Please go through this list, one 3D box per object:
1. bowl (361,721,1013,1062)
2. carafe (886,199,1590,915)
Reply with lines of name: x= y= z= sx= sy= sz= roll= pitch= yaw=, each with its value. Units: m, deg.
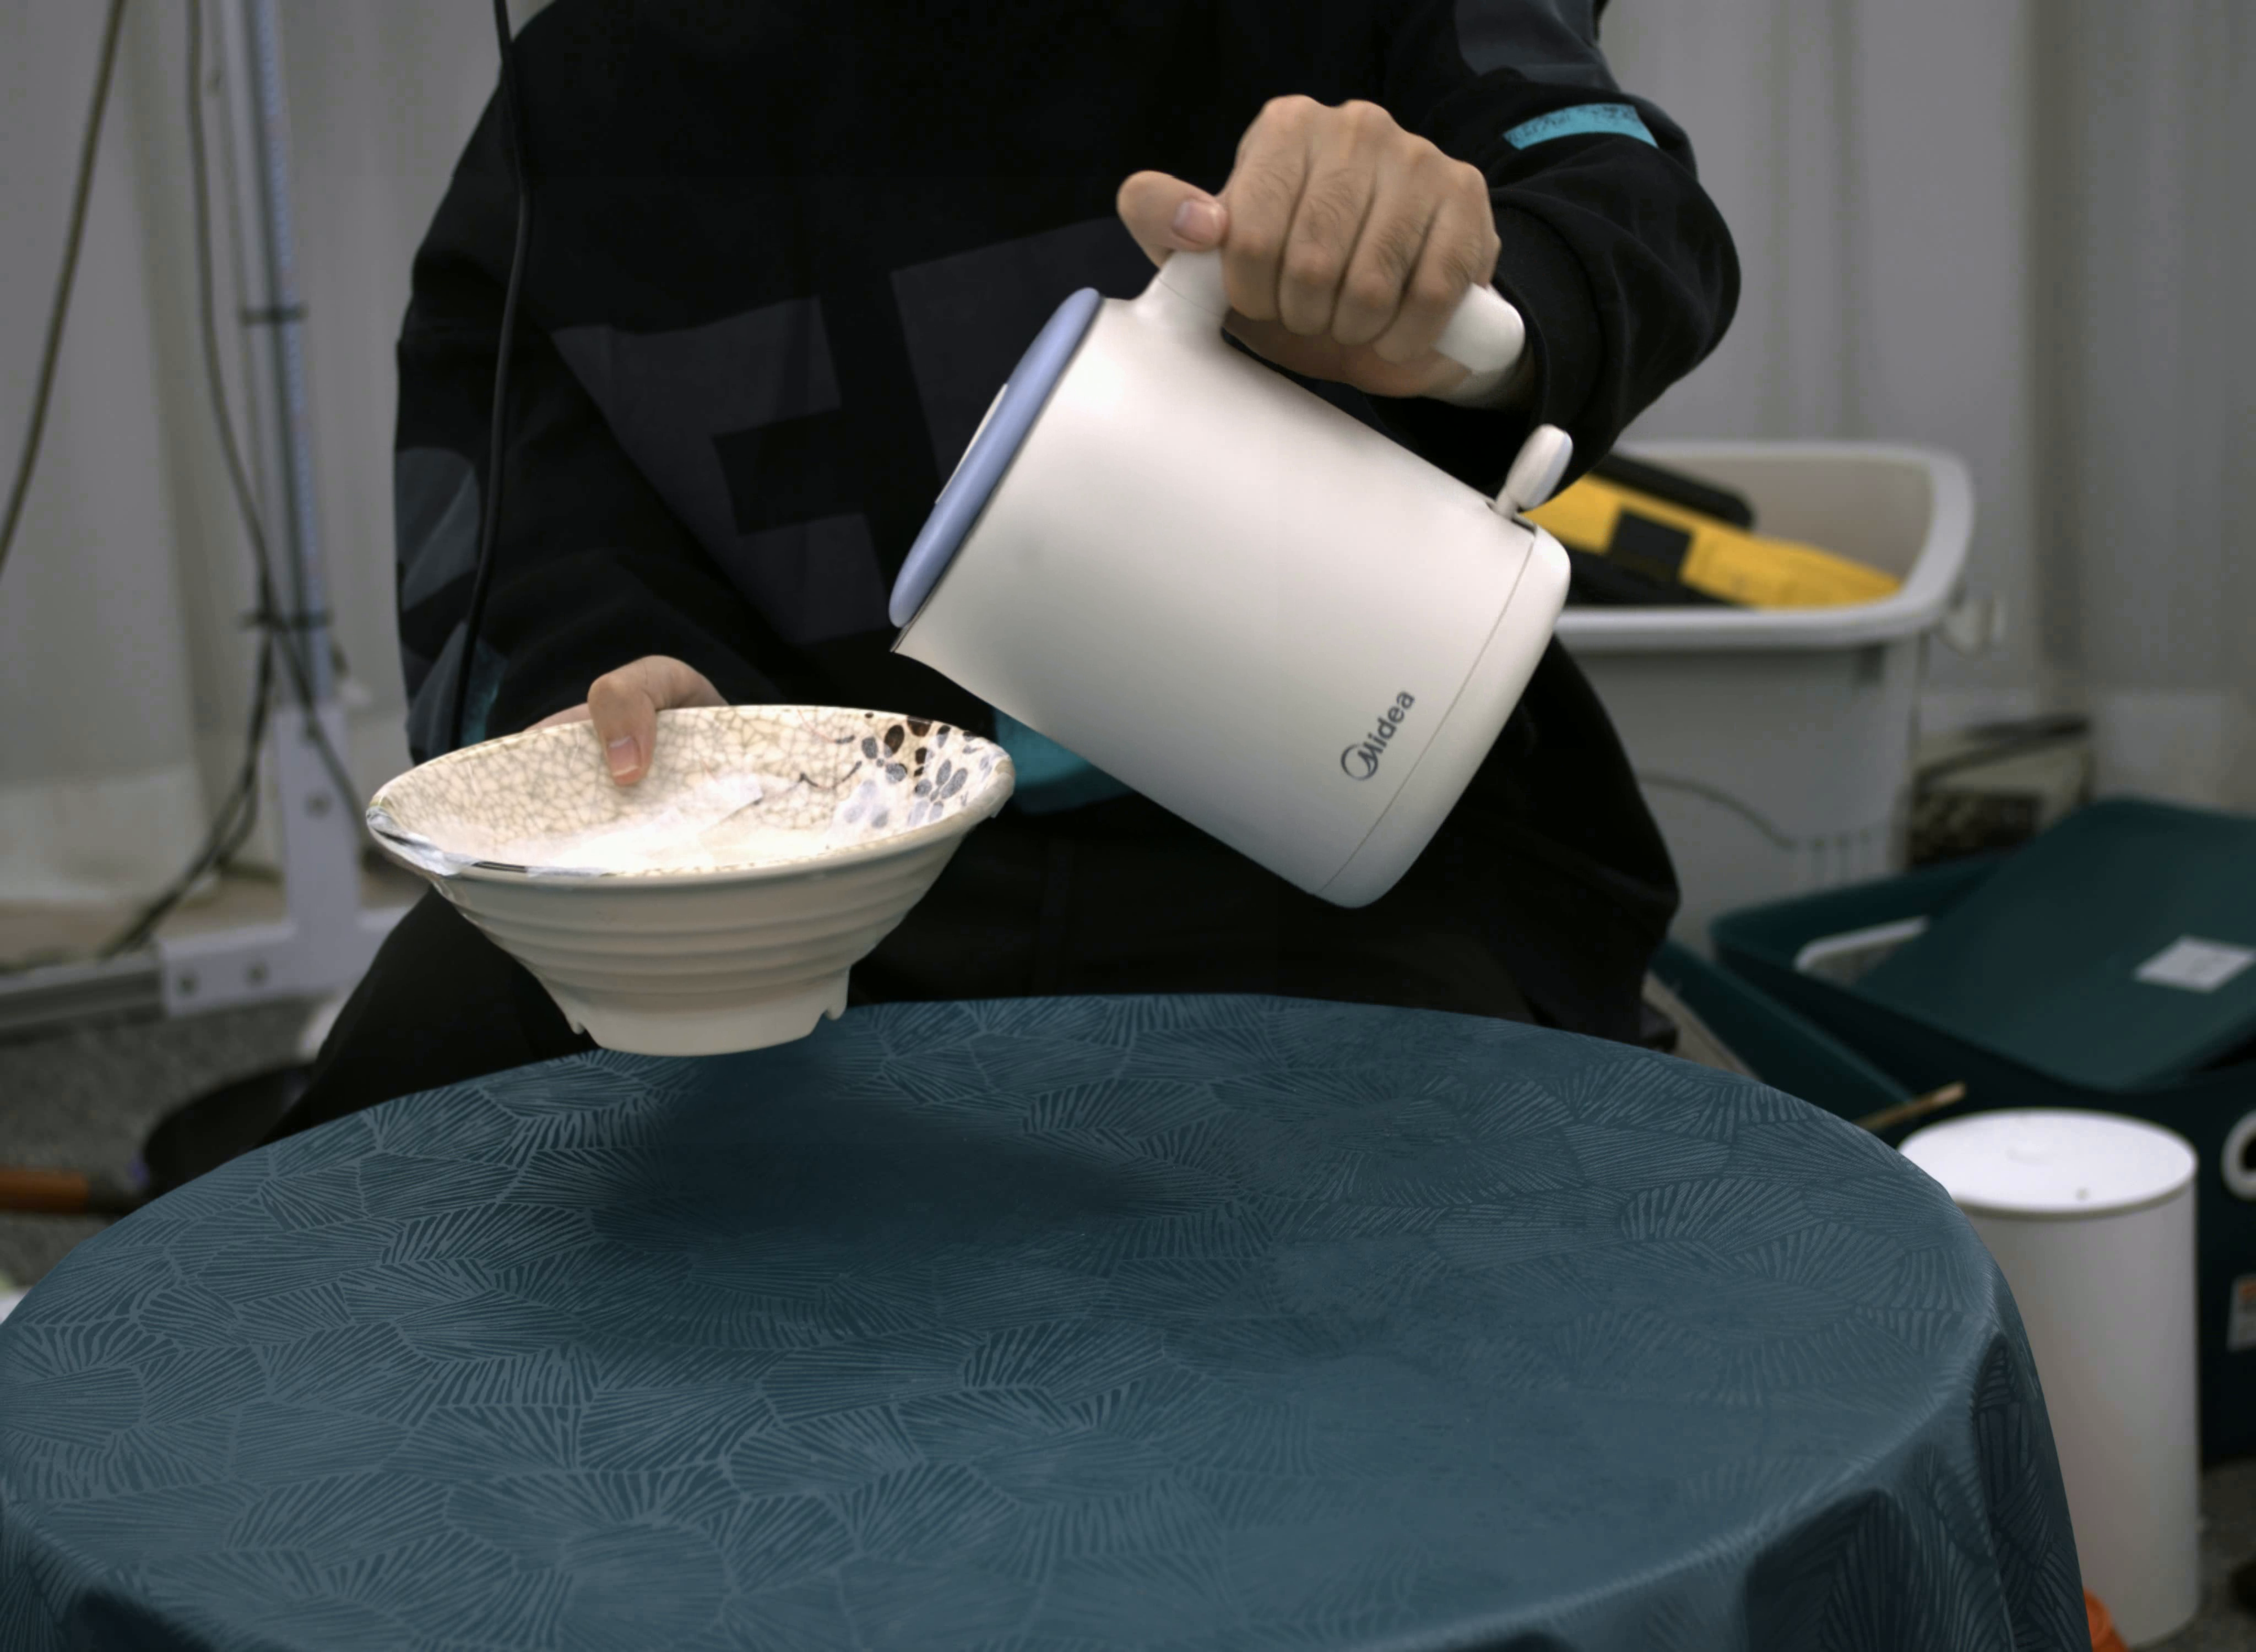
bowl: x=-0.136 y=0.025 z=1.716 sx=0.203 sy=0.078 sz=0.205 roll=-2 pitch=13 yaw=0
carafe: x=0.044 y=-0.089 z=1.652 sx=0.182 sy=0.190 sz=0.133 roll=34 pitch=12 yaw=-6
